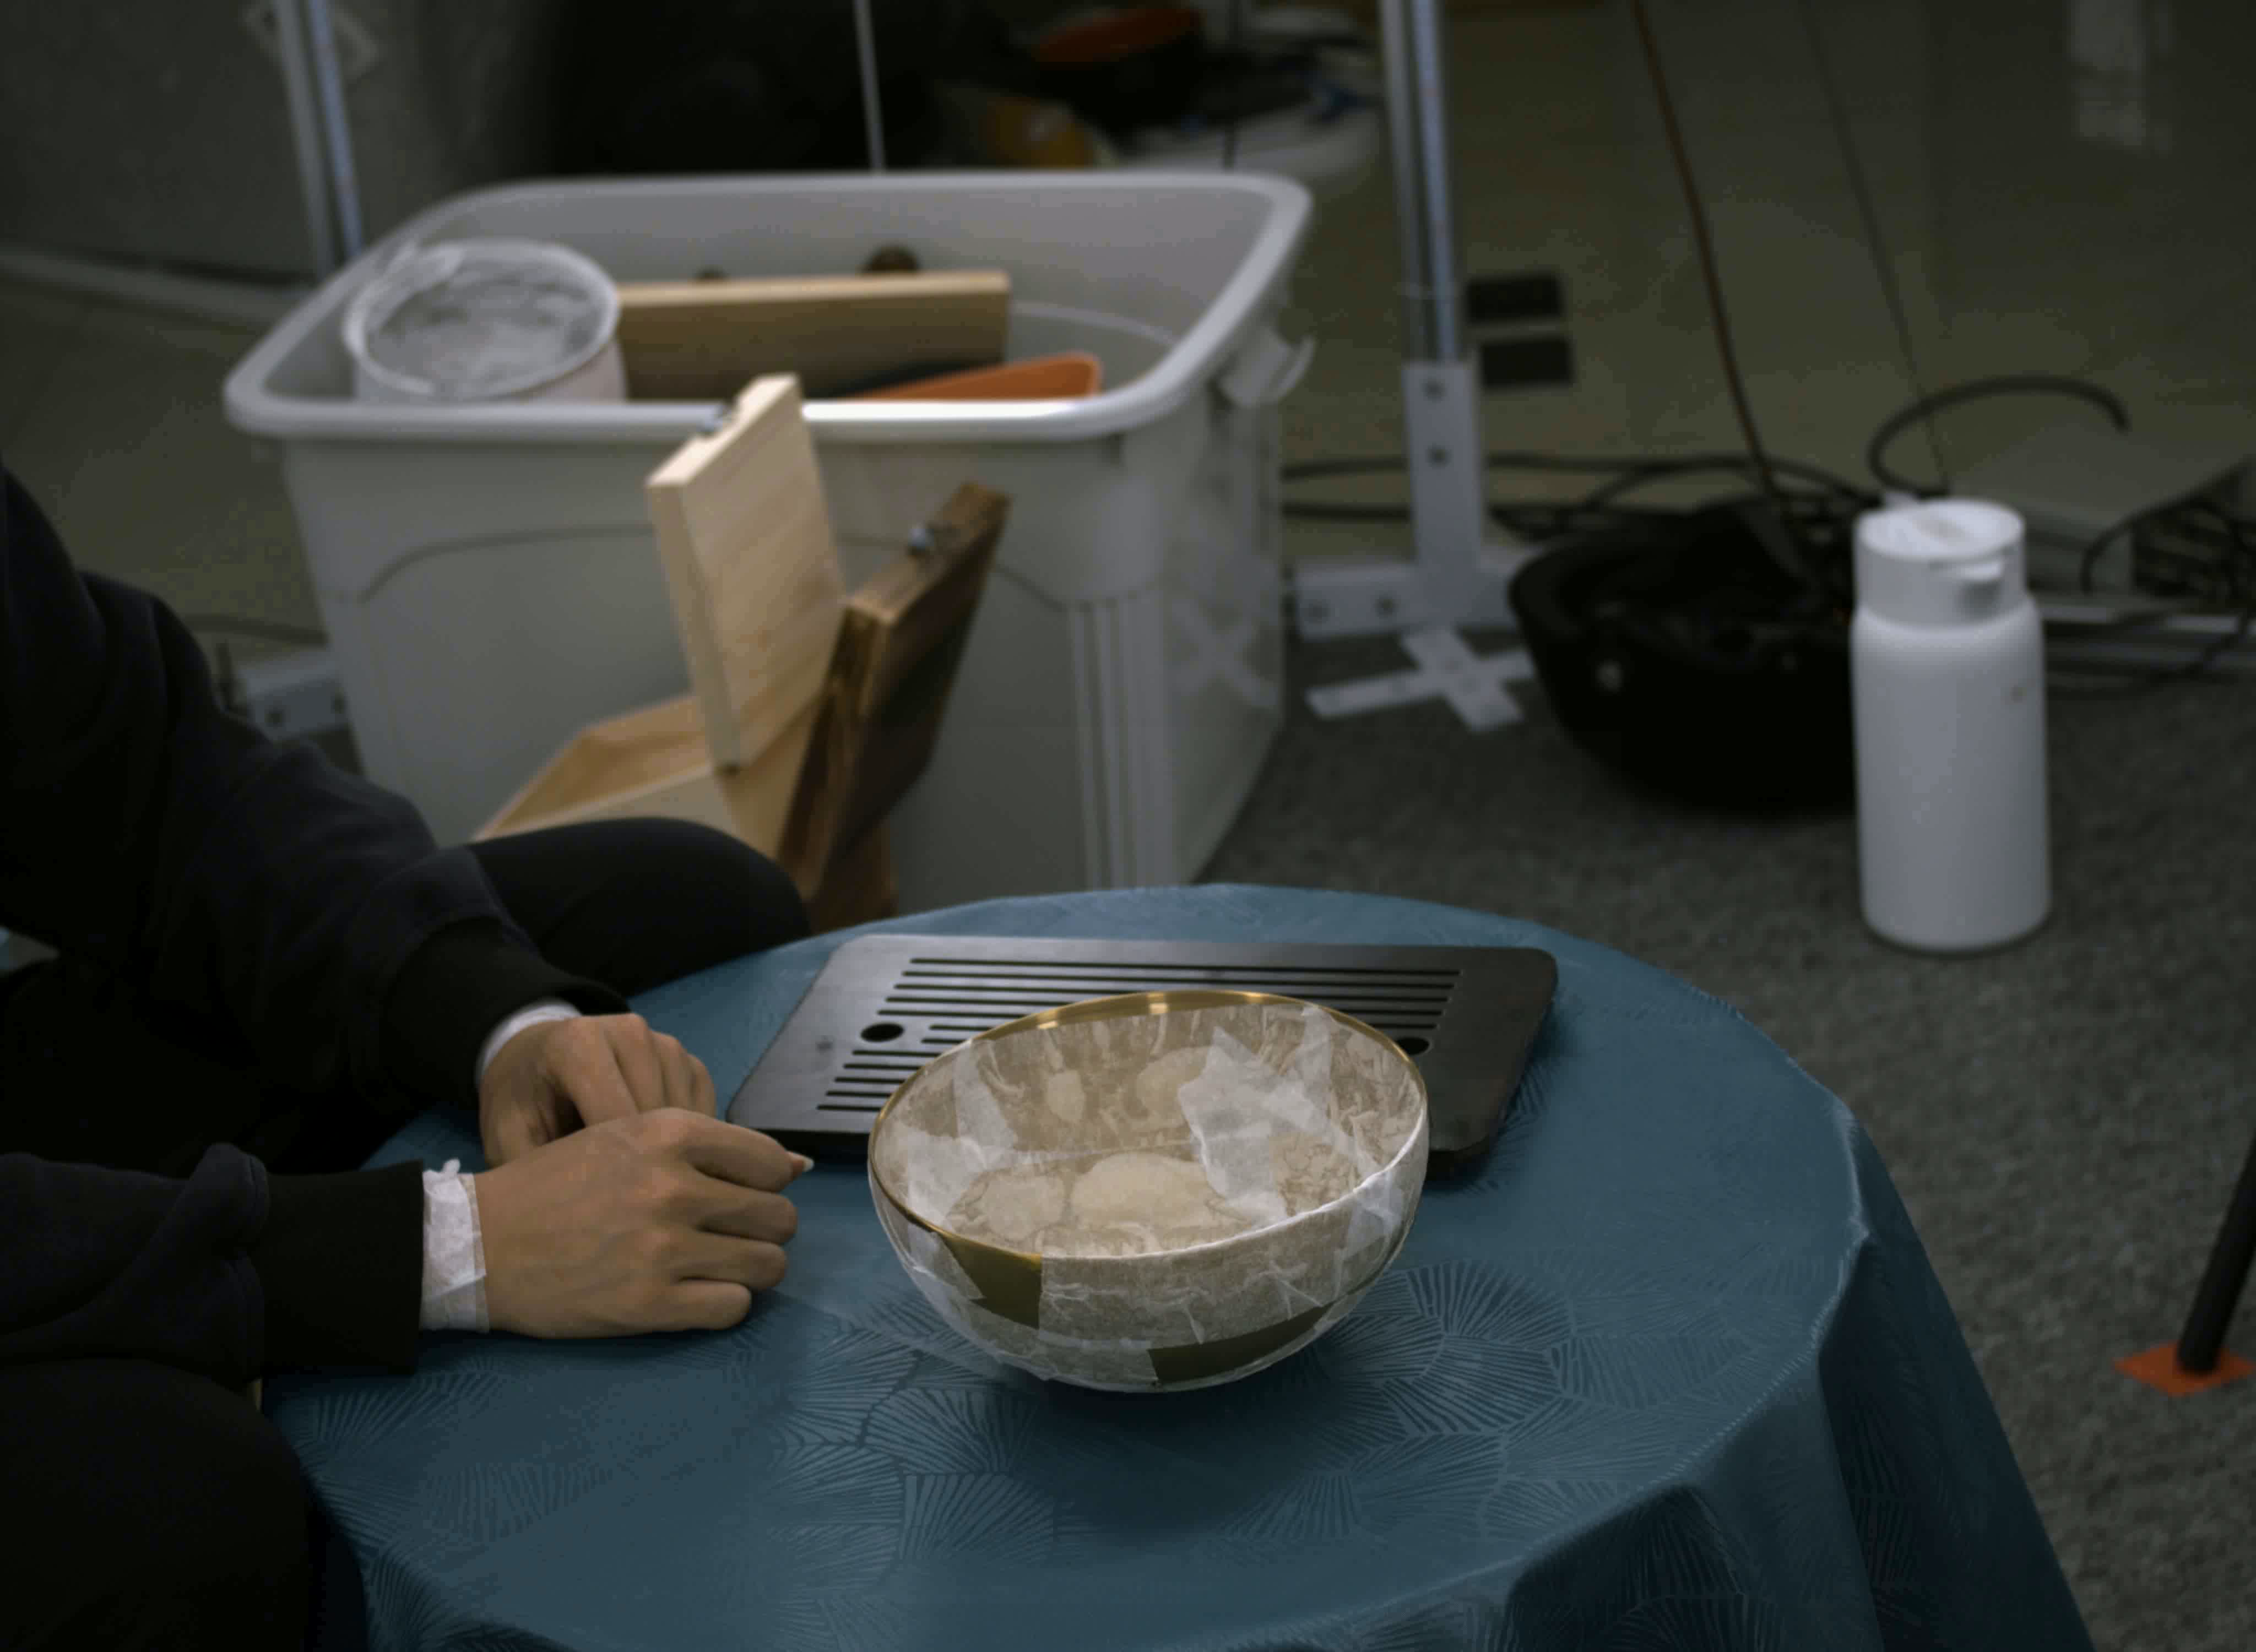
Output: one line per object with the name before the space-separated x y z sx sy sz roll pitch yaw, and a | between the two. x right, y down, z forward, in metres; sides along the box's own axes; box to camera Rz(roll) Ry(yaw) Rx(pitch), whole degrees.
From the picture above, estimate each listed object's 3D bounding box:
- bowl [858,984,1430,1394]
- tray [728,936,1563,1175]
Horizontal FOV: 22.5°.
bowl | 0.011 0.141 2.034 0.214 0.096 0.211 -6 26 3
tray | 0.009 0.090 2.236 0.305 0.019 0.168 1 26 16
